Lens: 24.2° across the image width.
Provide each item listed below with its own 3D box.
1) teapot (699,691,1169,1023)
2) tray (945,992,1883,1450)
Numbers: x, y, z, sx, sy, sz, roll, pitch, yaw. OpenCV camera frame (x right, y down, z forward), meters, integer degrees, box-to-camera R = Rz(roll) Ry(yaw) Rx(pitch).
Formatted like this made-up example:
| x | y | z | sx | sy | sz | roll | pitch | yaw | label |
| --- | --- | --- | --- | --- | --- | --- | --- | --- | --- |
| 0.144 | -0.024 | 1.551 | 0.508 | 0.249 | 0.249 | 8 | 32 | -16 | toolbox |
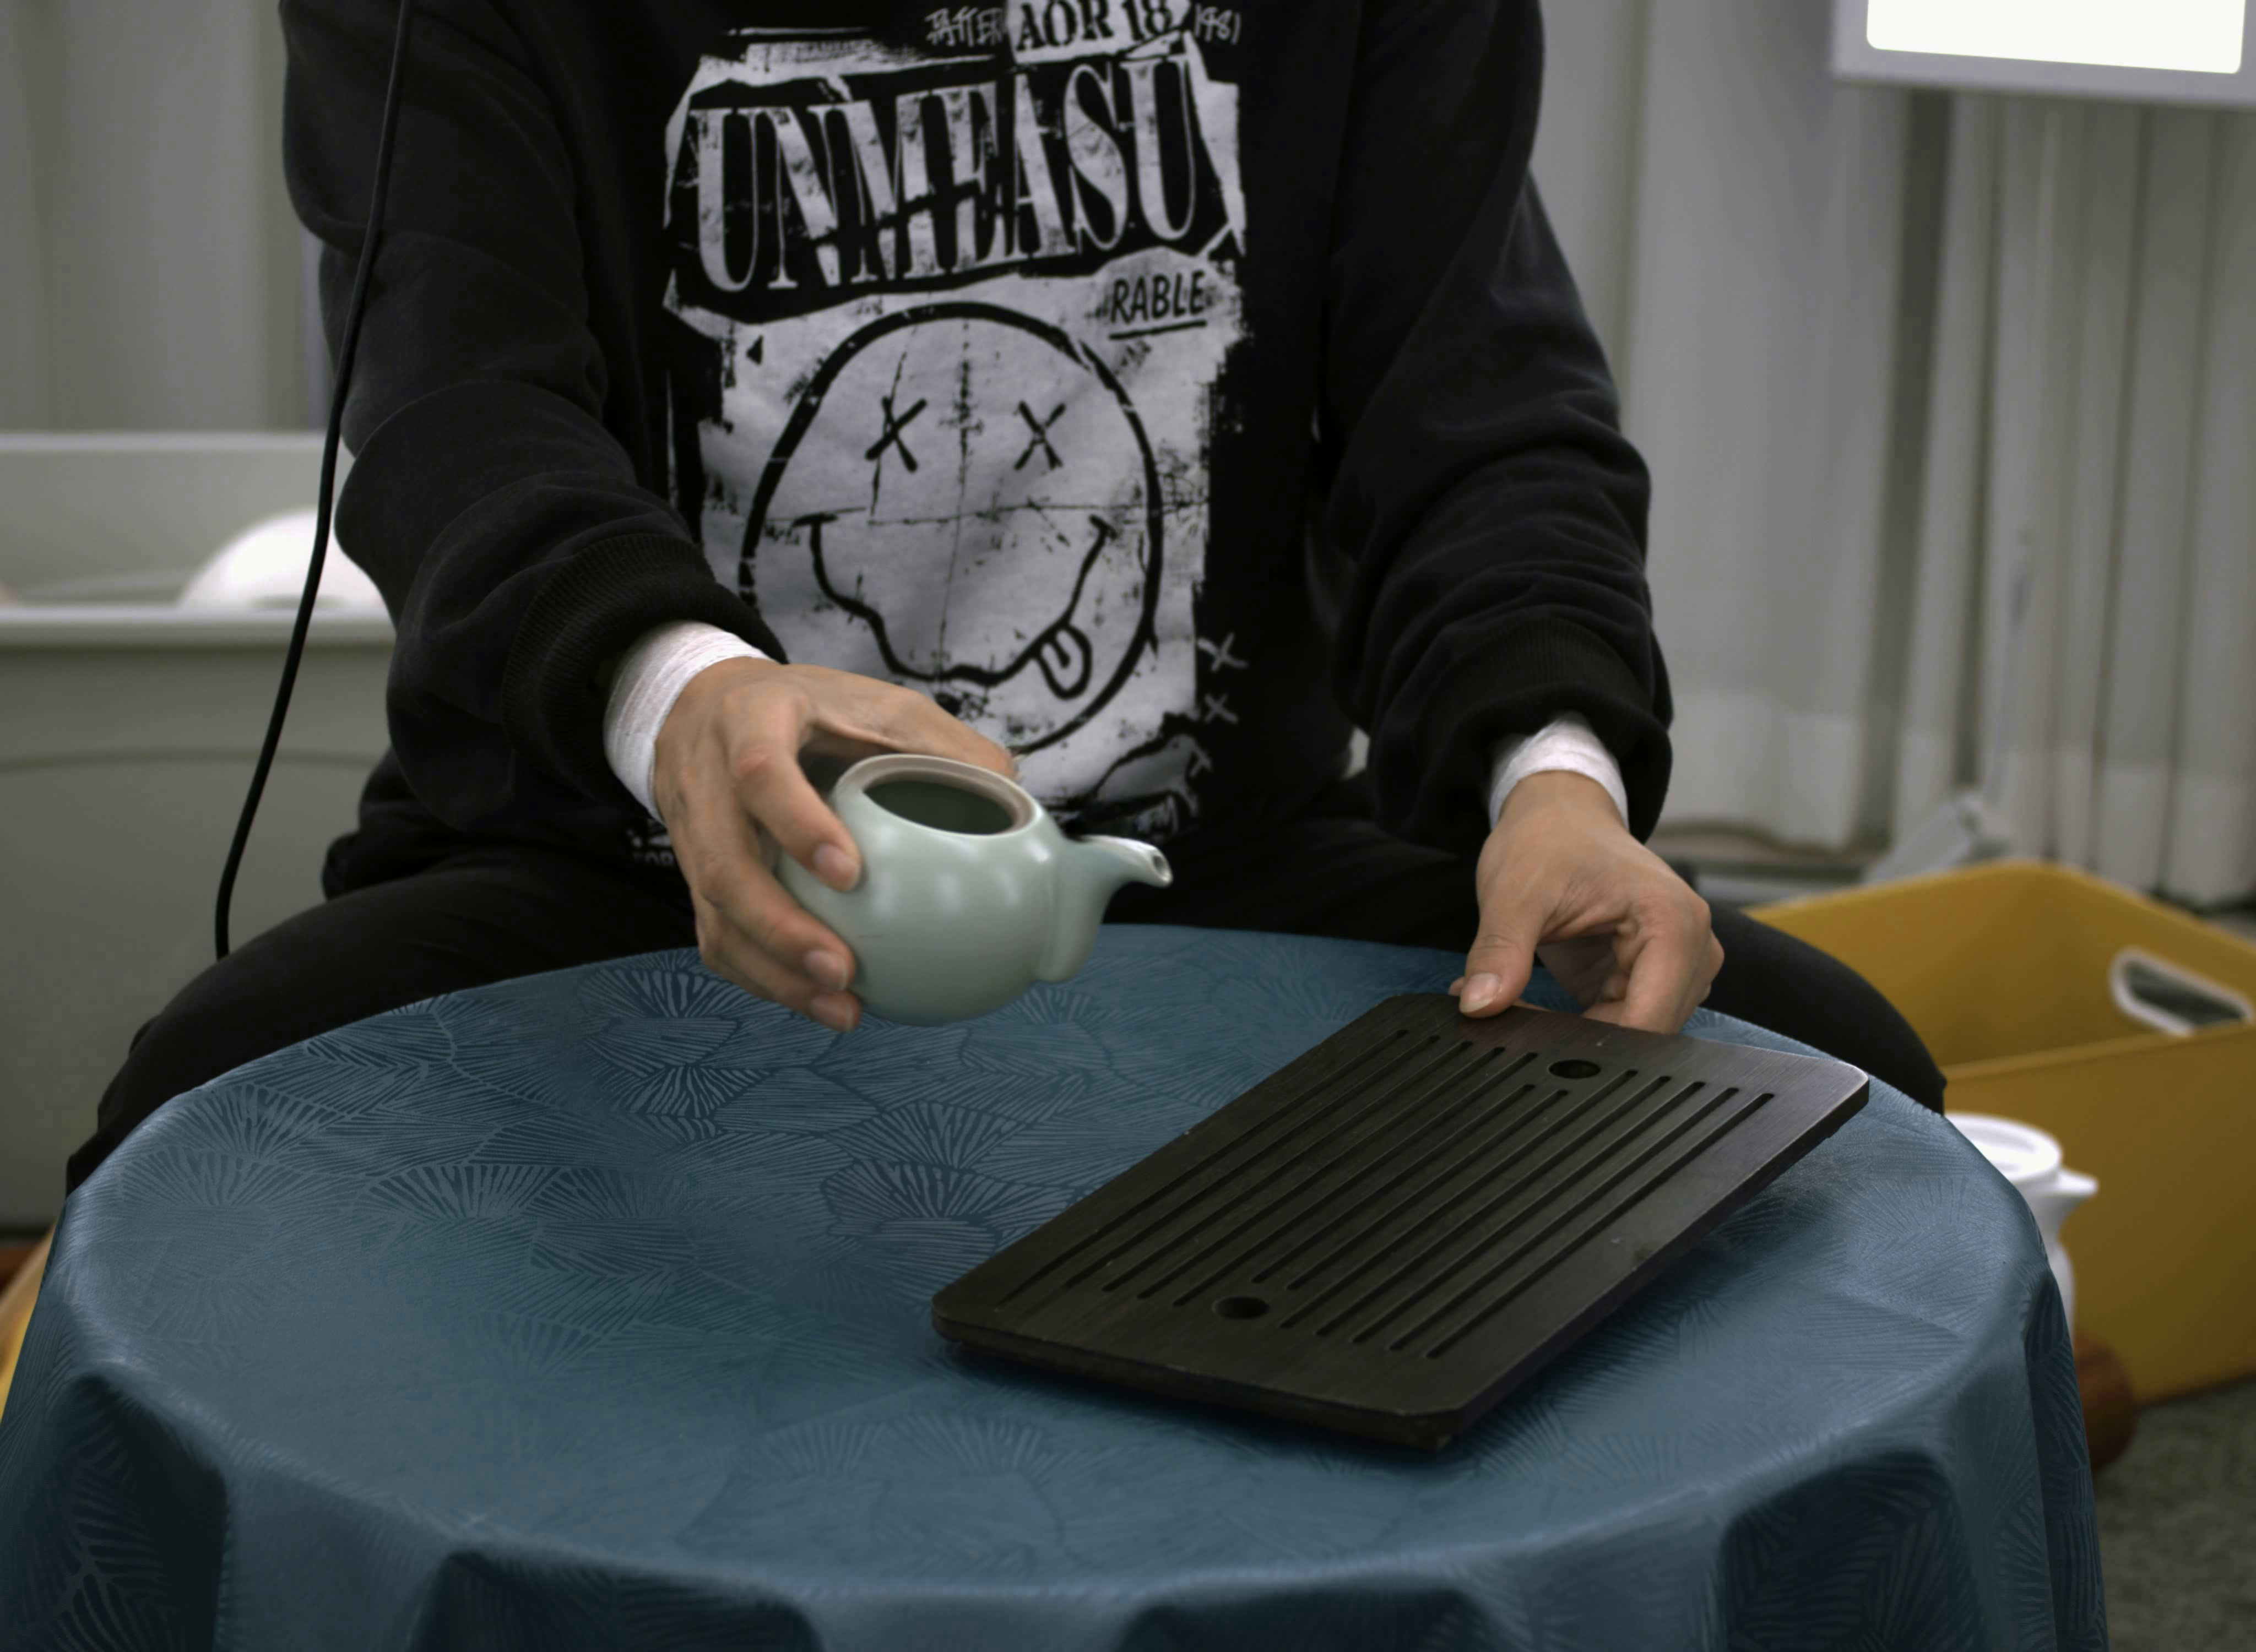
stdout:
| x | y | z | sx | sy | sz | roll | pitch | yaw | label |
| --- | --- | --- | --- | --- | --- | --- | --- | --- | --- |
| -0.062 | 0.016 | 1.539 | 0.143 | 0.075 | 0.088 | 22 | 23 | 13 | teapot |
| 0.092 | 0.113 | 1.564 | 0.168 | 0.019 | 0.306 | 9 | 20 | 29 | tray |
